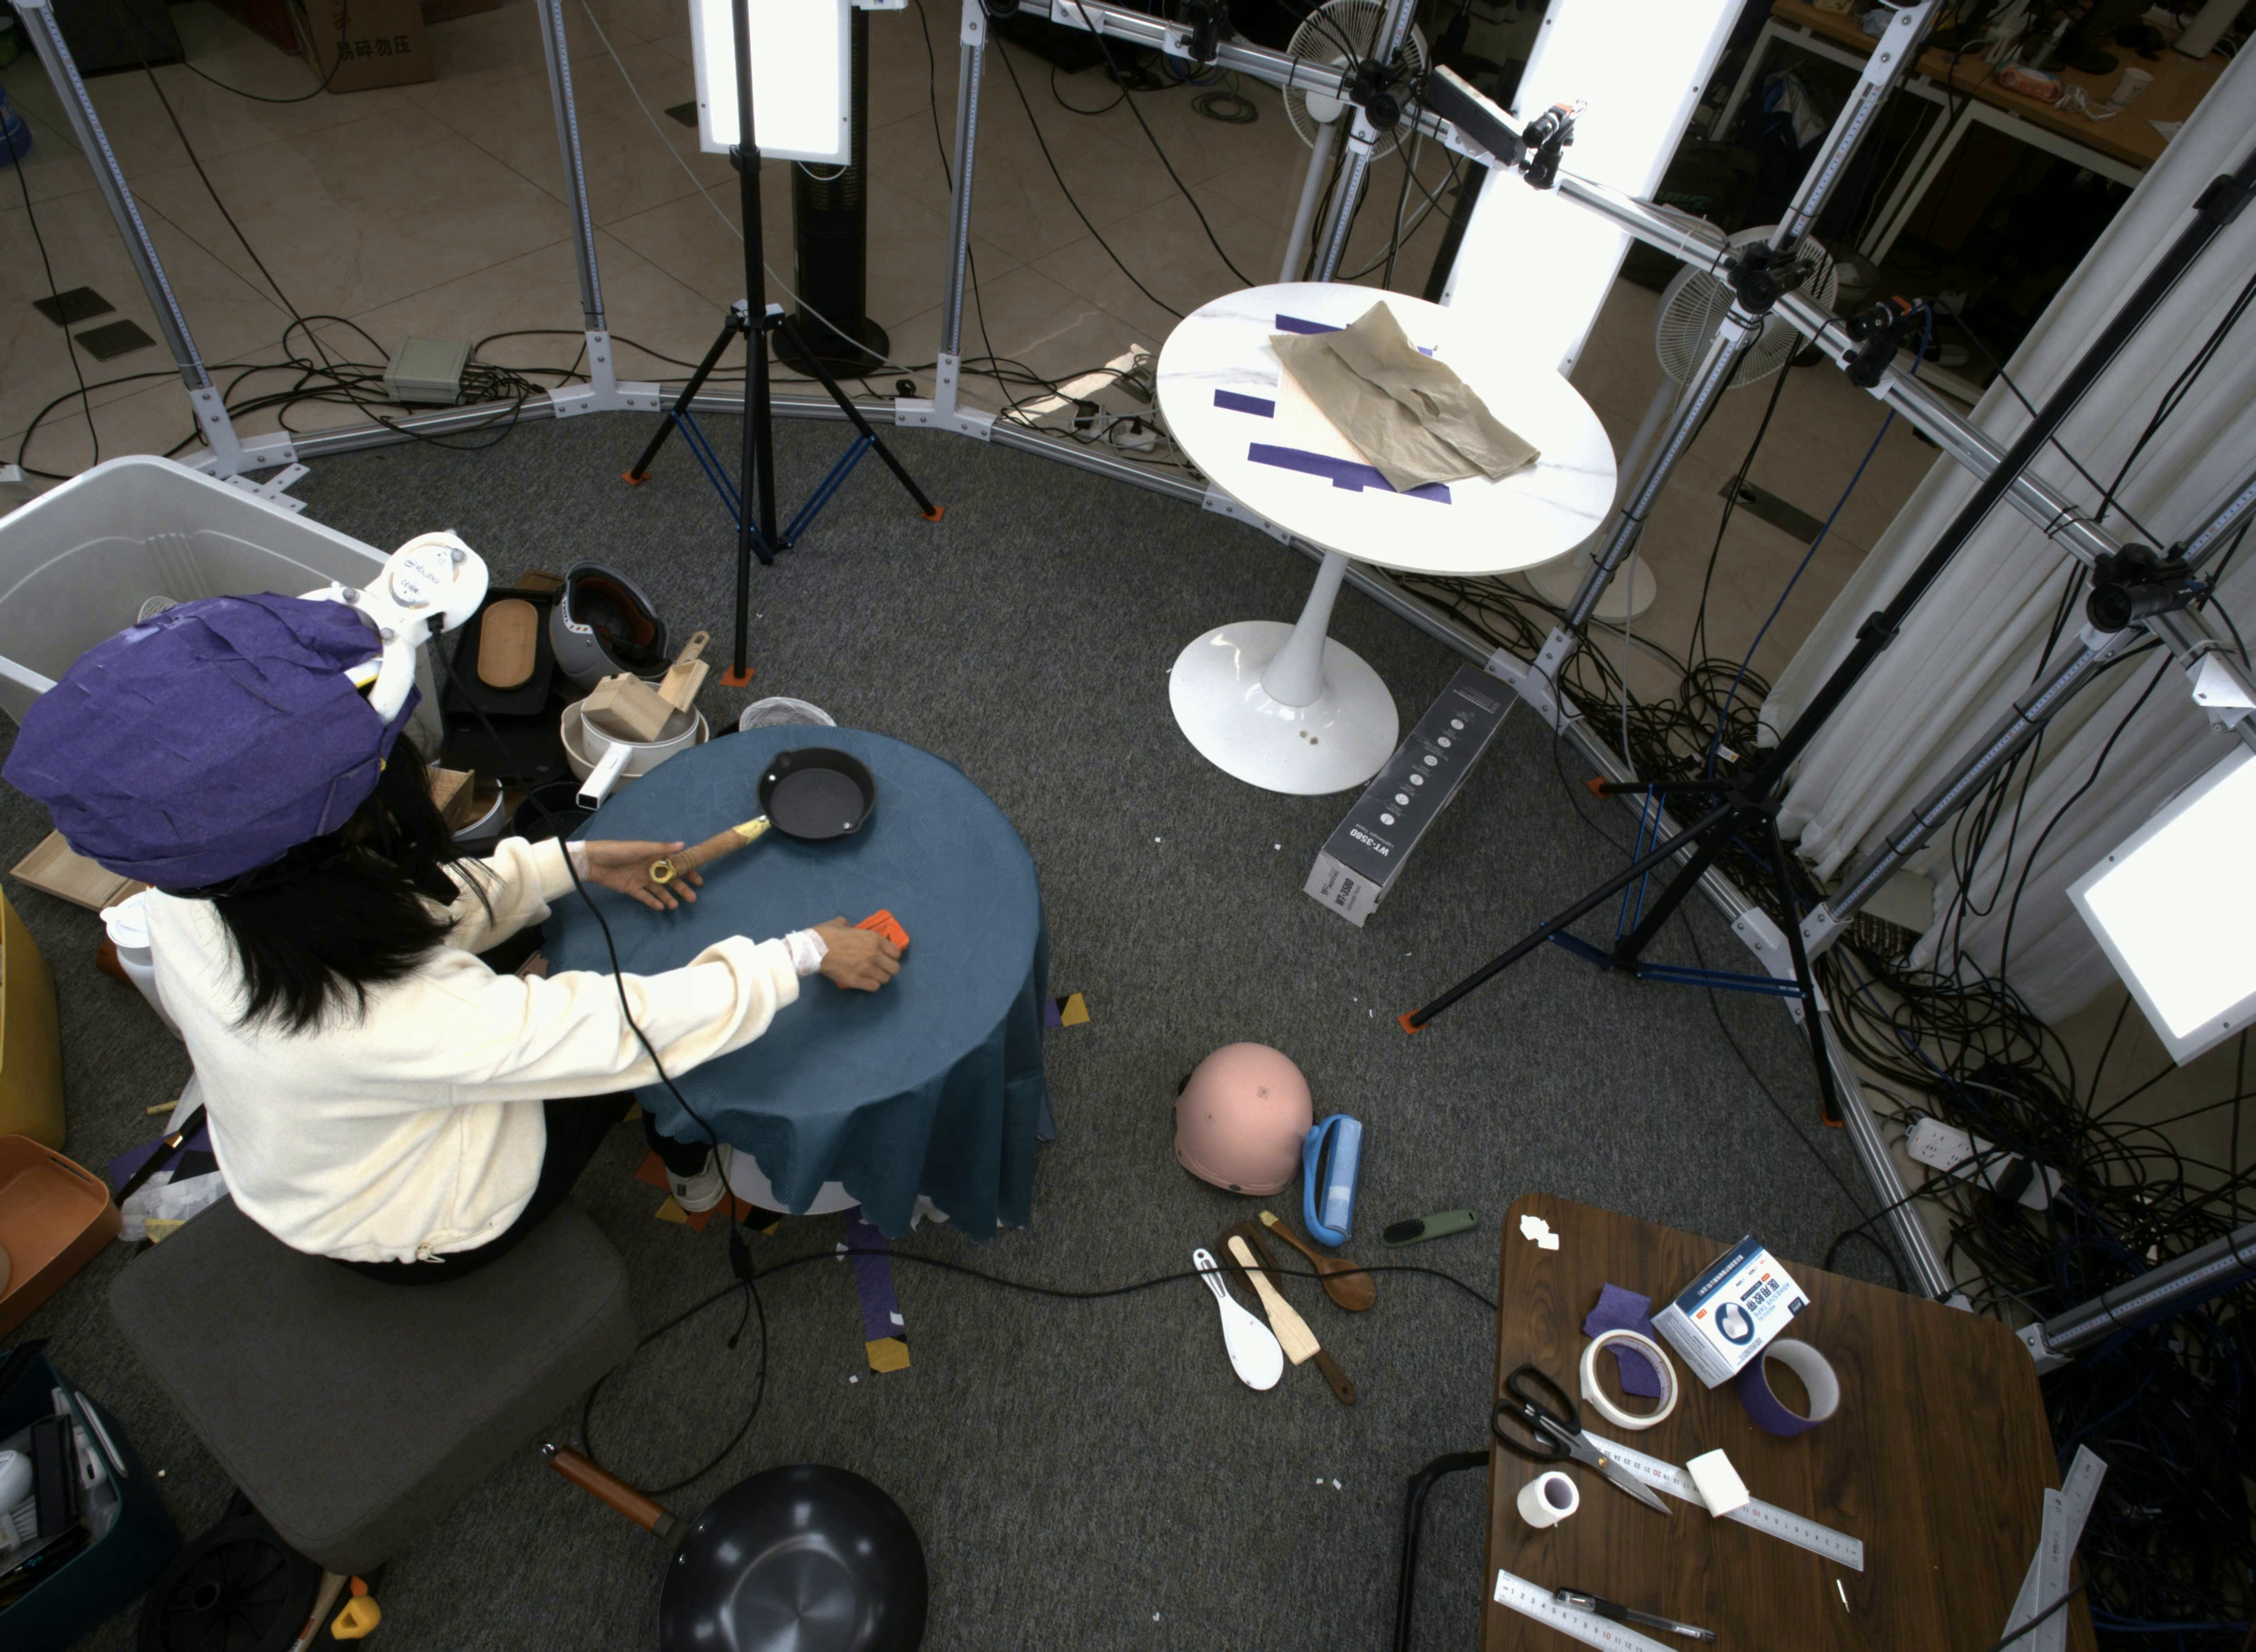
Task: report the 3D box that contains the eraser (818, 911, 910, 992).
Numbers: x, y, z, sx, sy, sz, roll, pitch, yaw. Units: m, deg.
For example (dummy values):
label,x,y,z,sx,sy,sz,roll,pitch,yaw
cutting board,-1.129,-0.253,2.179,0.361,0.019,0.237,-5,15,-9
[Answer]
label,x,y,z,sx,sy,sz,roll,pitch,yaw
eraser,-0.327,0.153,1.611,0.108,0.023,0.058,-35,76,-33

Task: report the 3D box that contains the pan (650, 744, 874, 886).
label,x,y,z,sx,sy,sz,roll,pitch,yaw
pan,-0.476,-0.005,1.676,0.325,0.050,0.165,-33,68,-34
